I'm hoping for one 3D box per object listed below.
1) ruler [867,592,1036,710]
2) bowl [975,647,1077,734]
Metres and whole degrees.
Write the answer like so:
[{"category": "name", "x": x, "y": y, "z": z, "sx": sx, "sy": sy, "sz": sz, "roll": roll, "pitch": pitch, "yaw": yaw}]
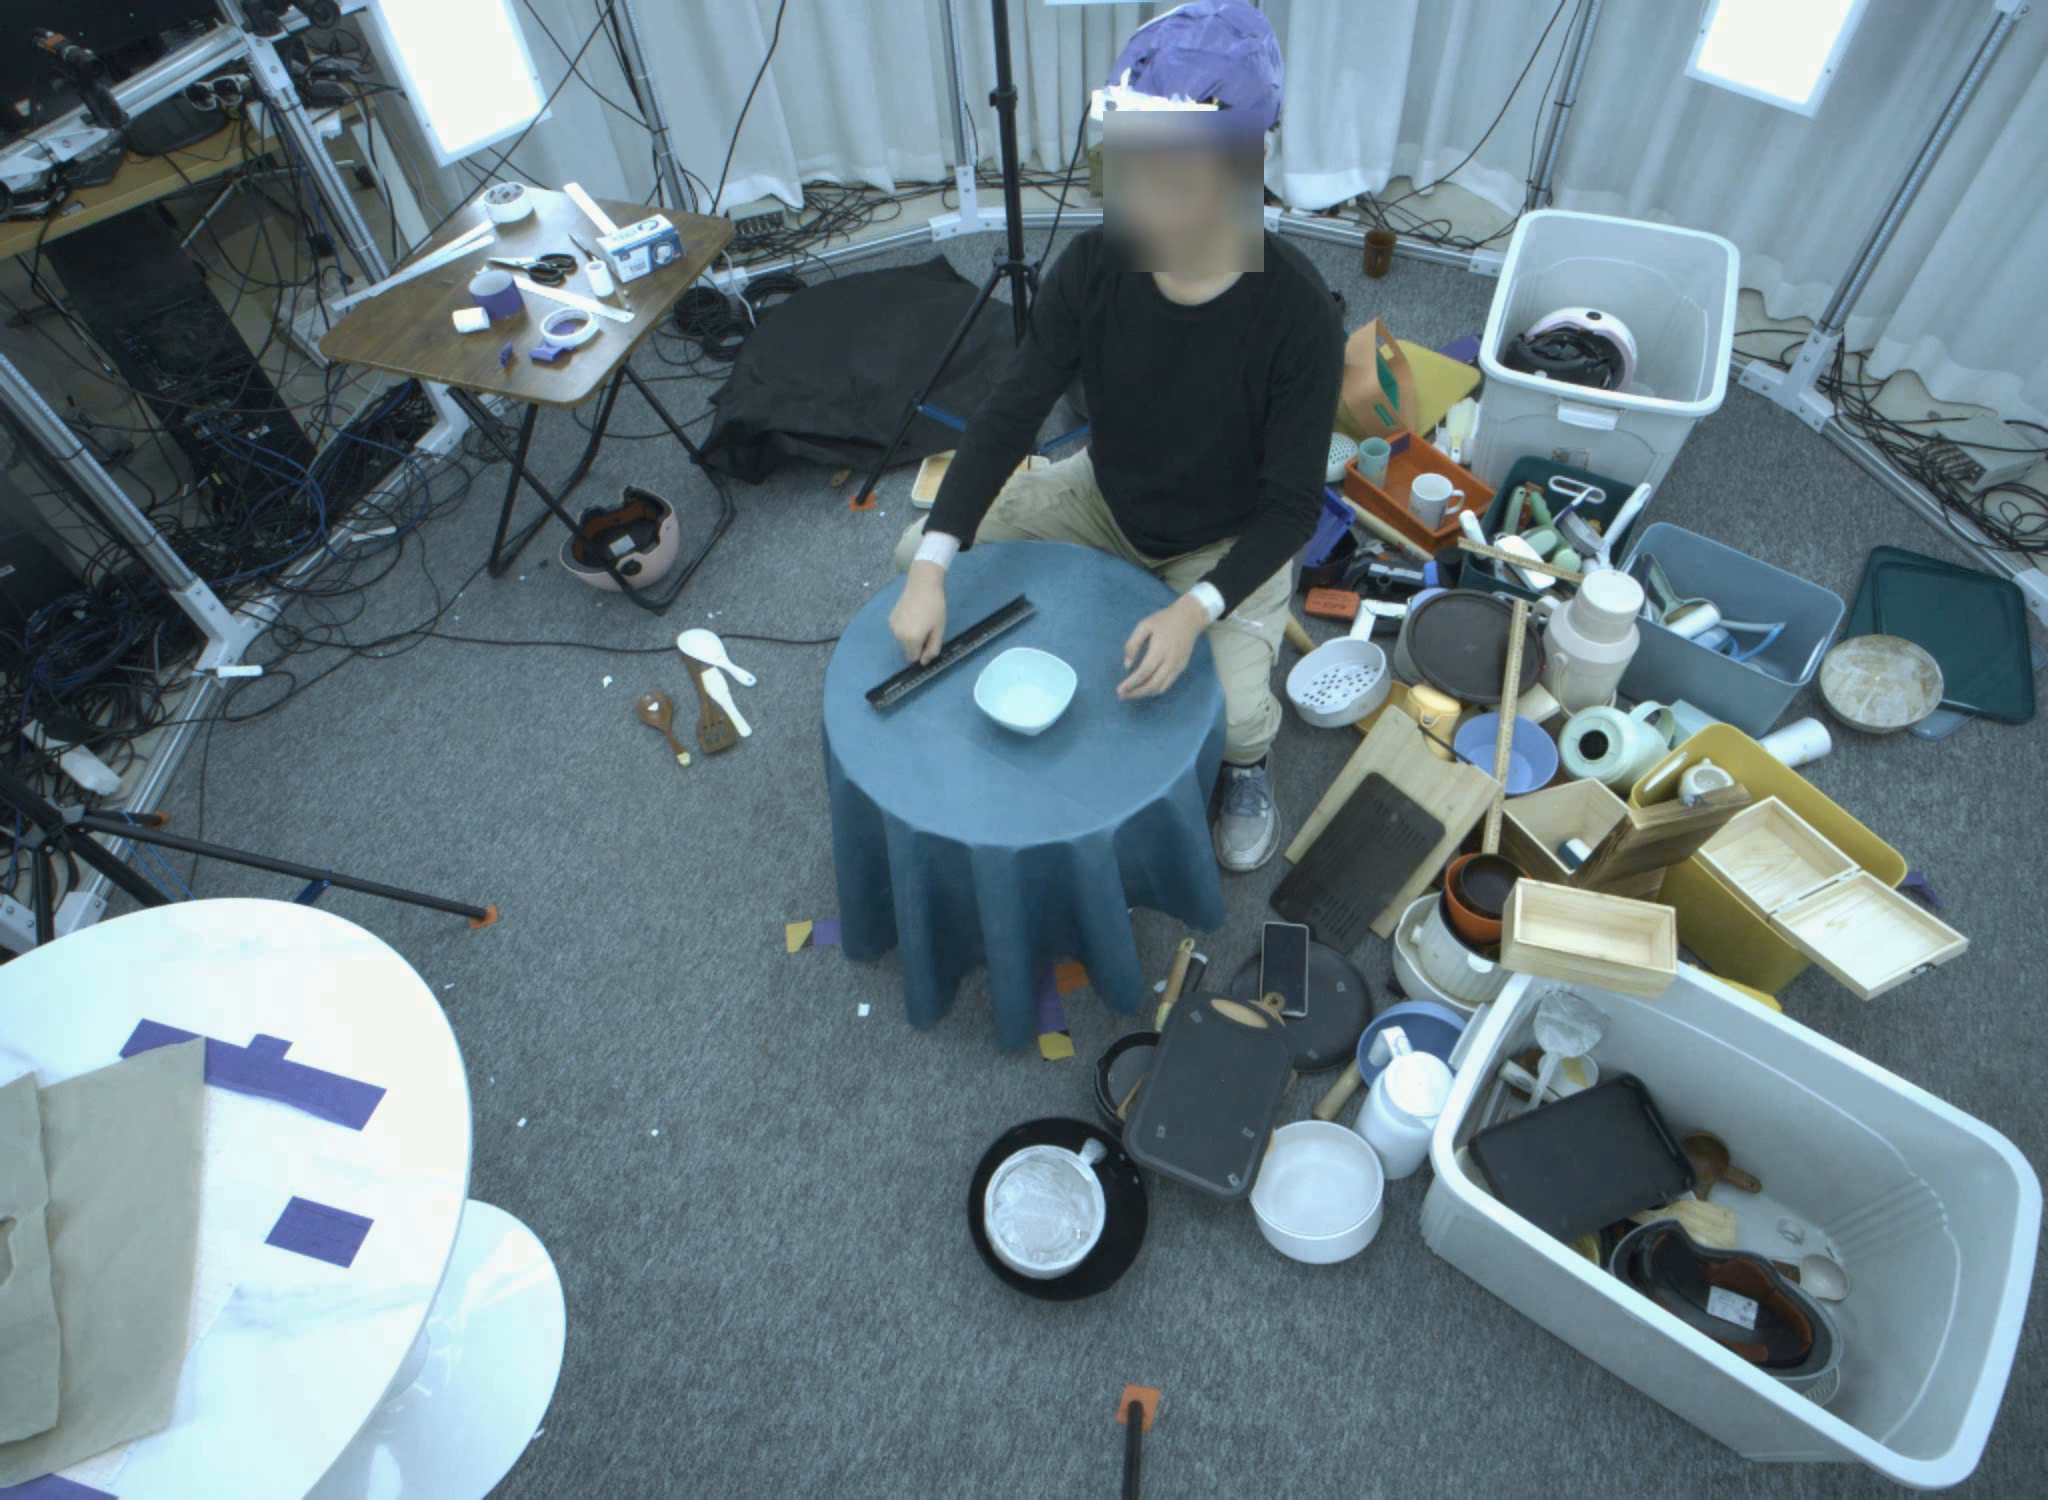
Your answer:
[{"category": "ruler", "x": -0.109, "y": -0.155, "z": 1.879, "sx": 0.315, "sy": 0.017, "sz": 0.038, "roll": -36, "pitch": 54, "yaw": -23}, {"category": "bowl", "x": 0.005, "y": -0.077, "z": 1.808, "sx": 0.151, "sy": 0.059, "sz": 0.150, "roll": -2, "pitch": 56, "yaw": 4}]
